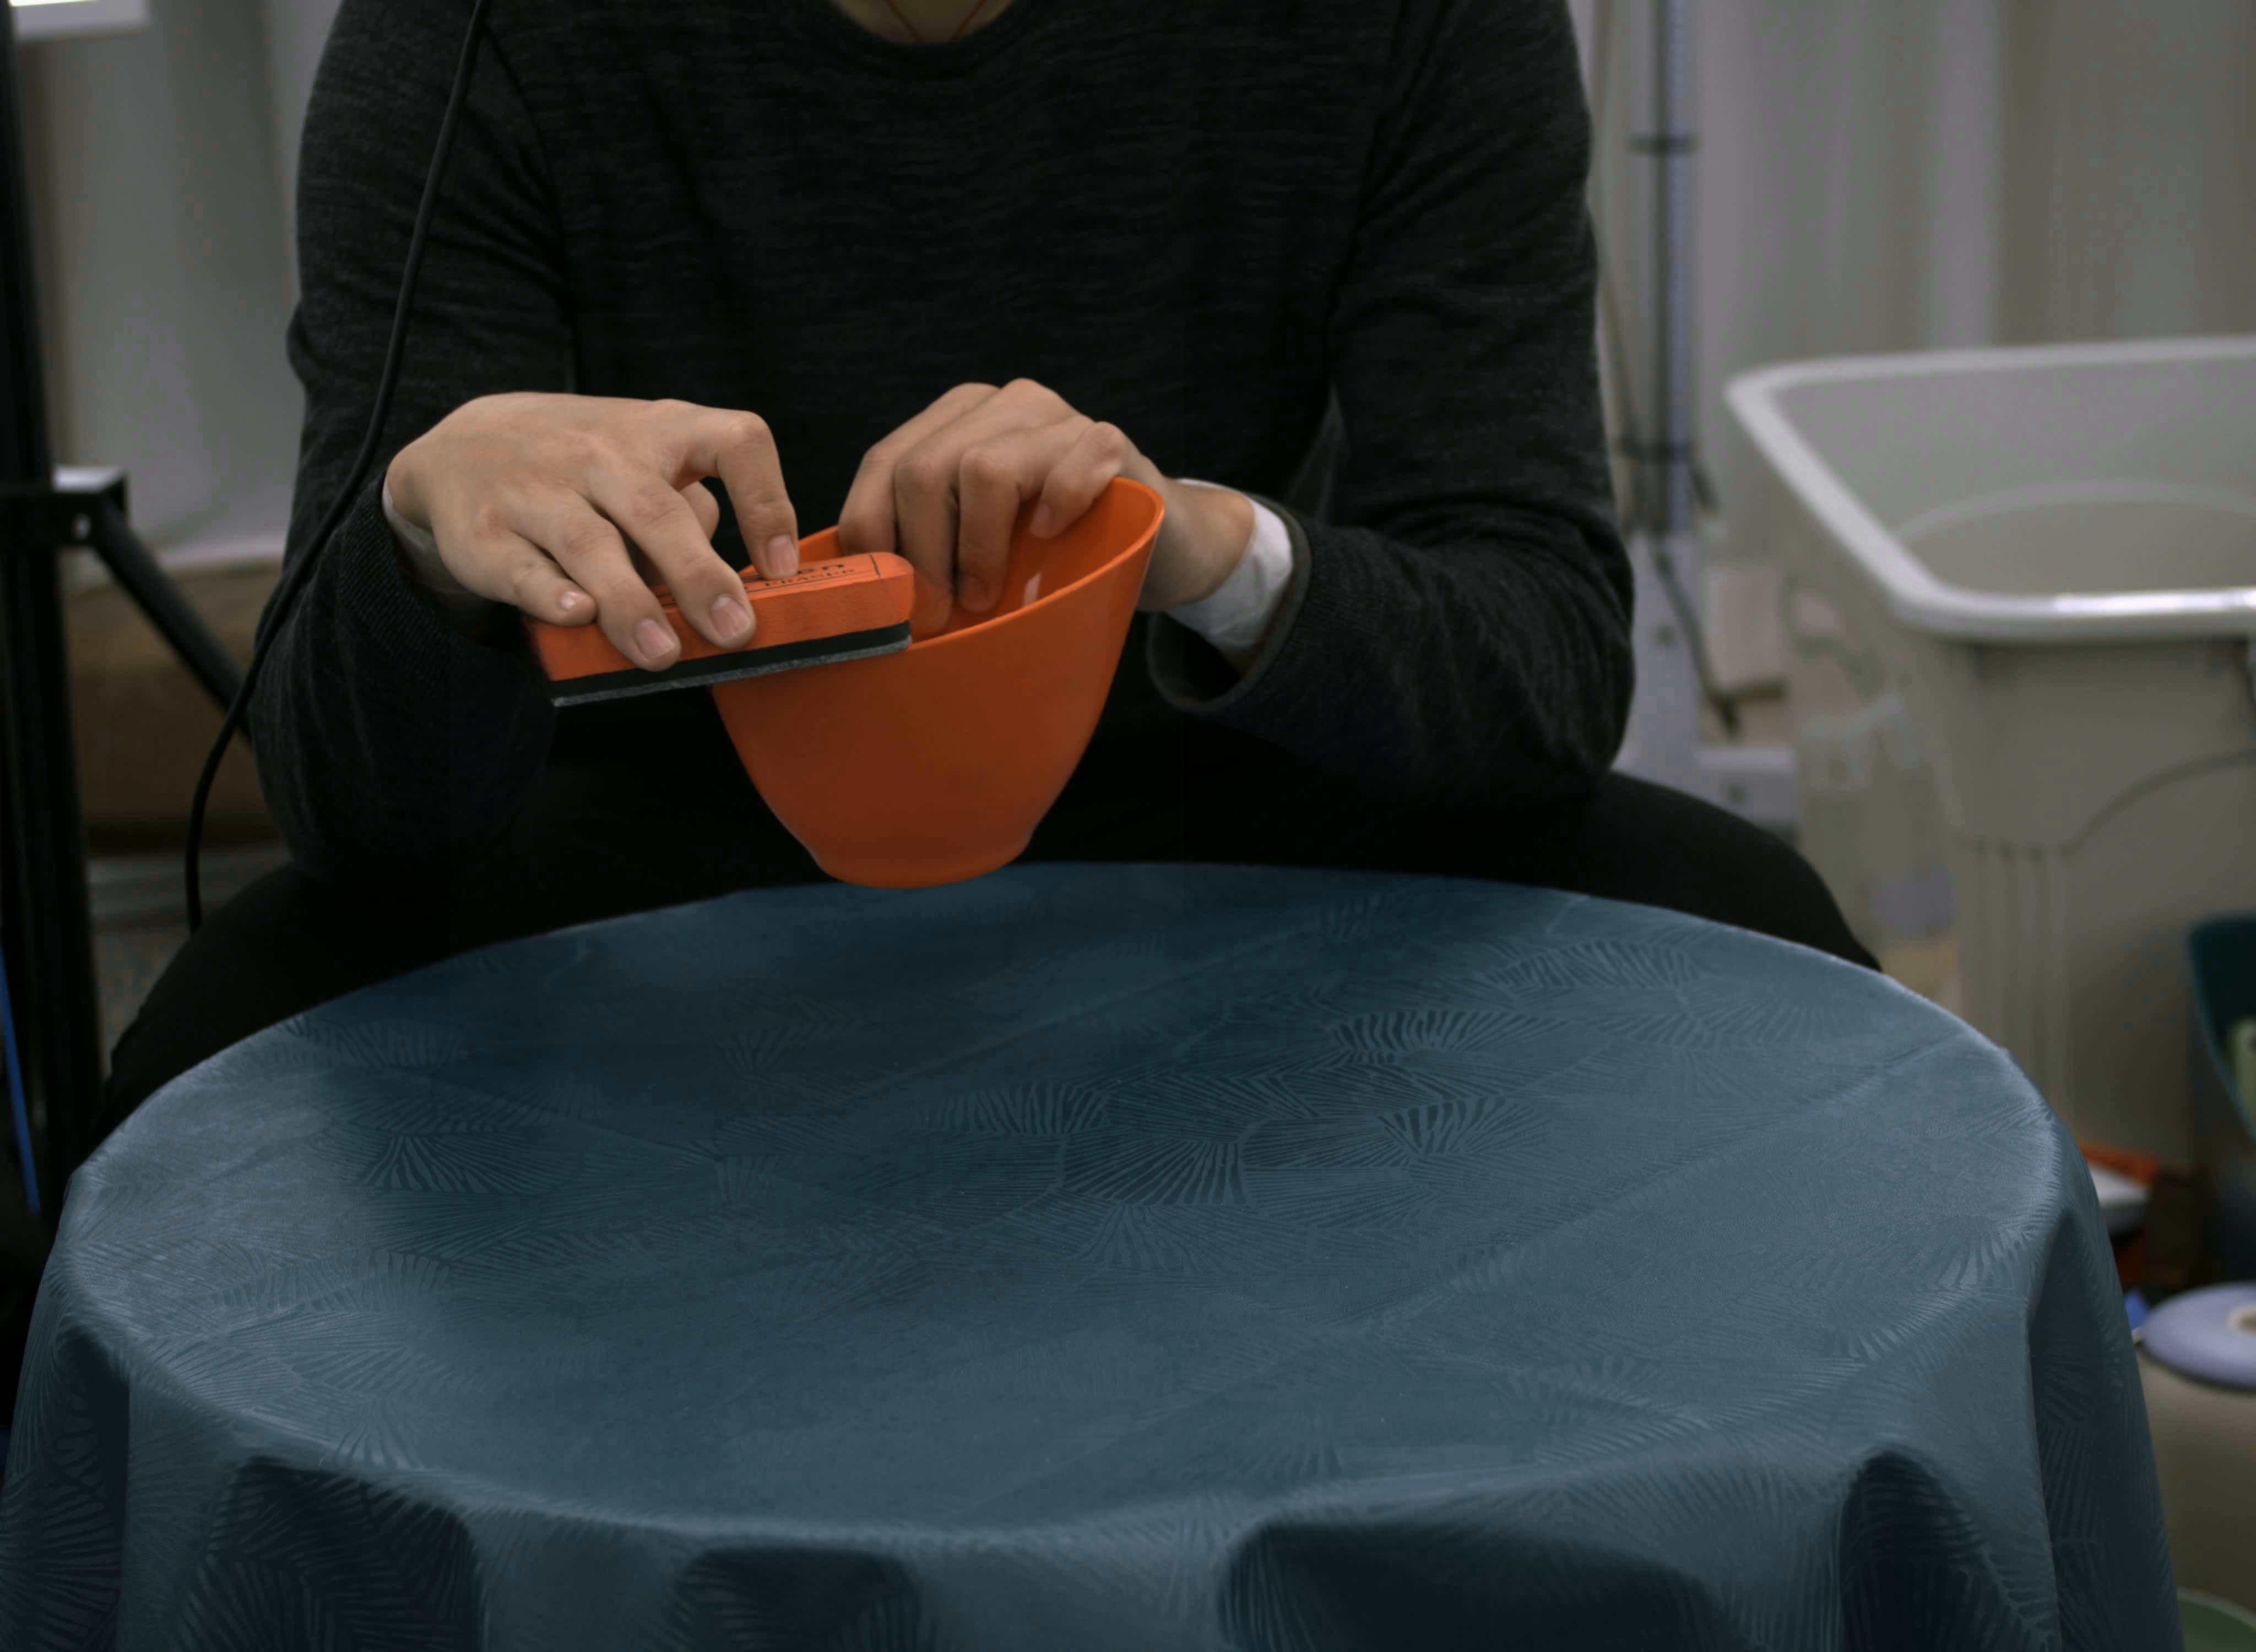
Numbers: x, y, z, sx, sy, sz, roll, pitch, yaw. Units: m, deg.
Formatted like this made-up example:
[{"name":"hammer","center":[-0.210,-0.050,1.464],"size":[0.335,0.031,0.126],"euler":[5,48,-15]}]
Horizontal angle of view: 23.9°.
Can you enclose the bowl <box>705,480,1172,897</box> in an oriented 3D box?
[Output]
[{"name":"bowl","center":[-0.055,-0.038,1.616],"size":[0.147,0.104,0.149],"euler":[-7,22,1]}]

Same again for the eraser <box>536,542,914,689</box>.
[{"name":"eraser","center":[-0.117,-0.061,1.551],"size":[0.107,0.023,0.059],"euler":[-8,12,-3]}]
